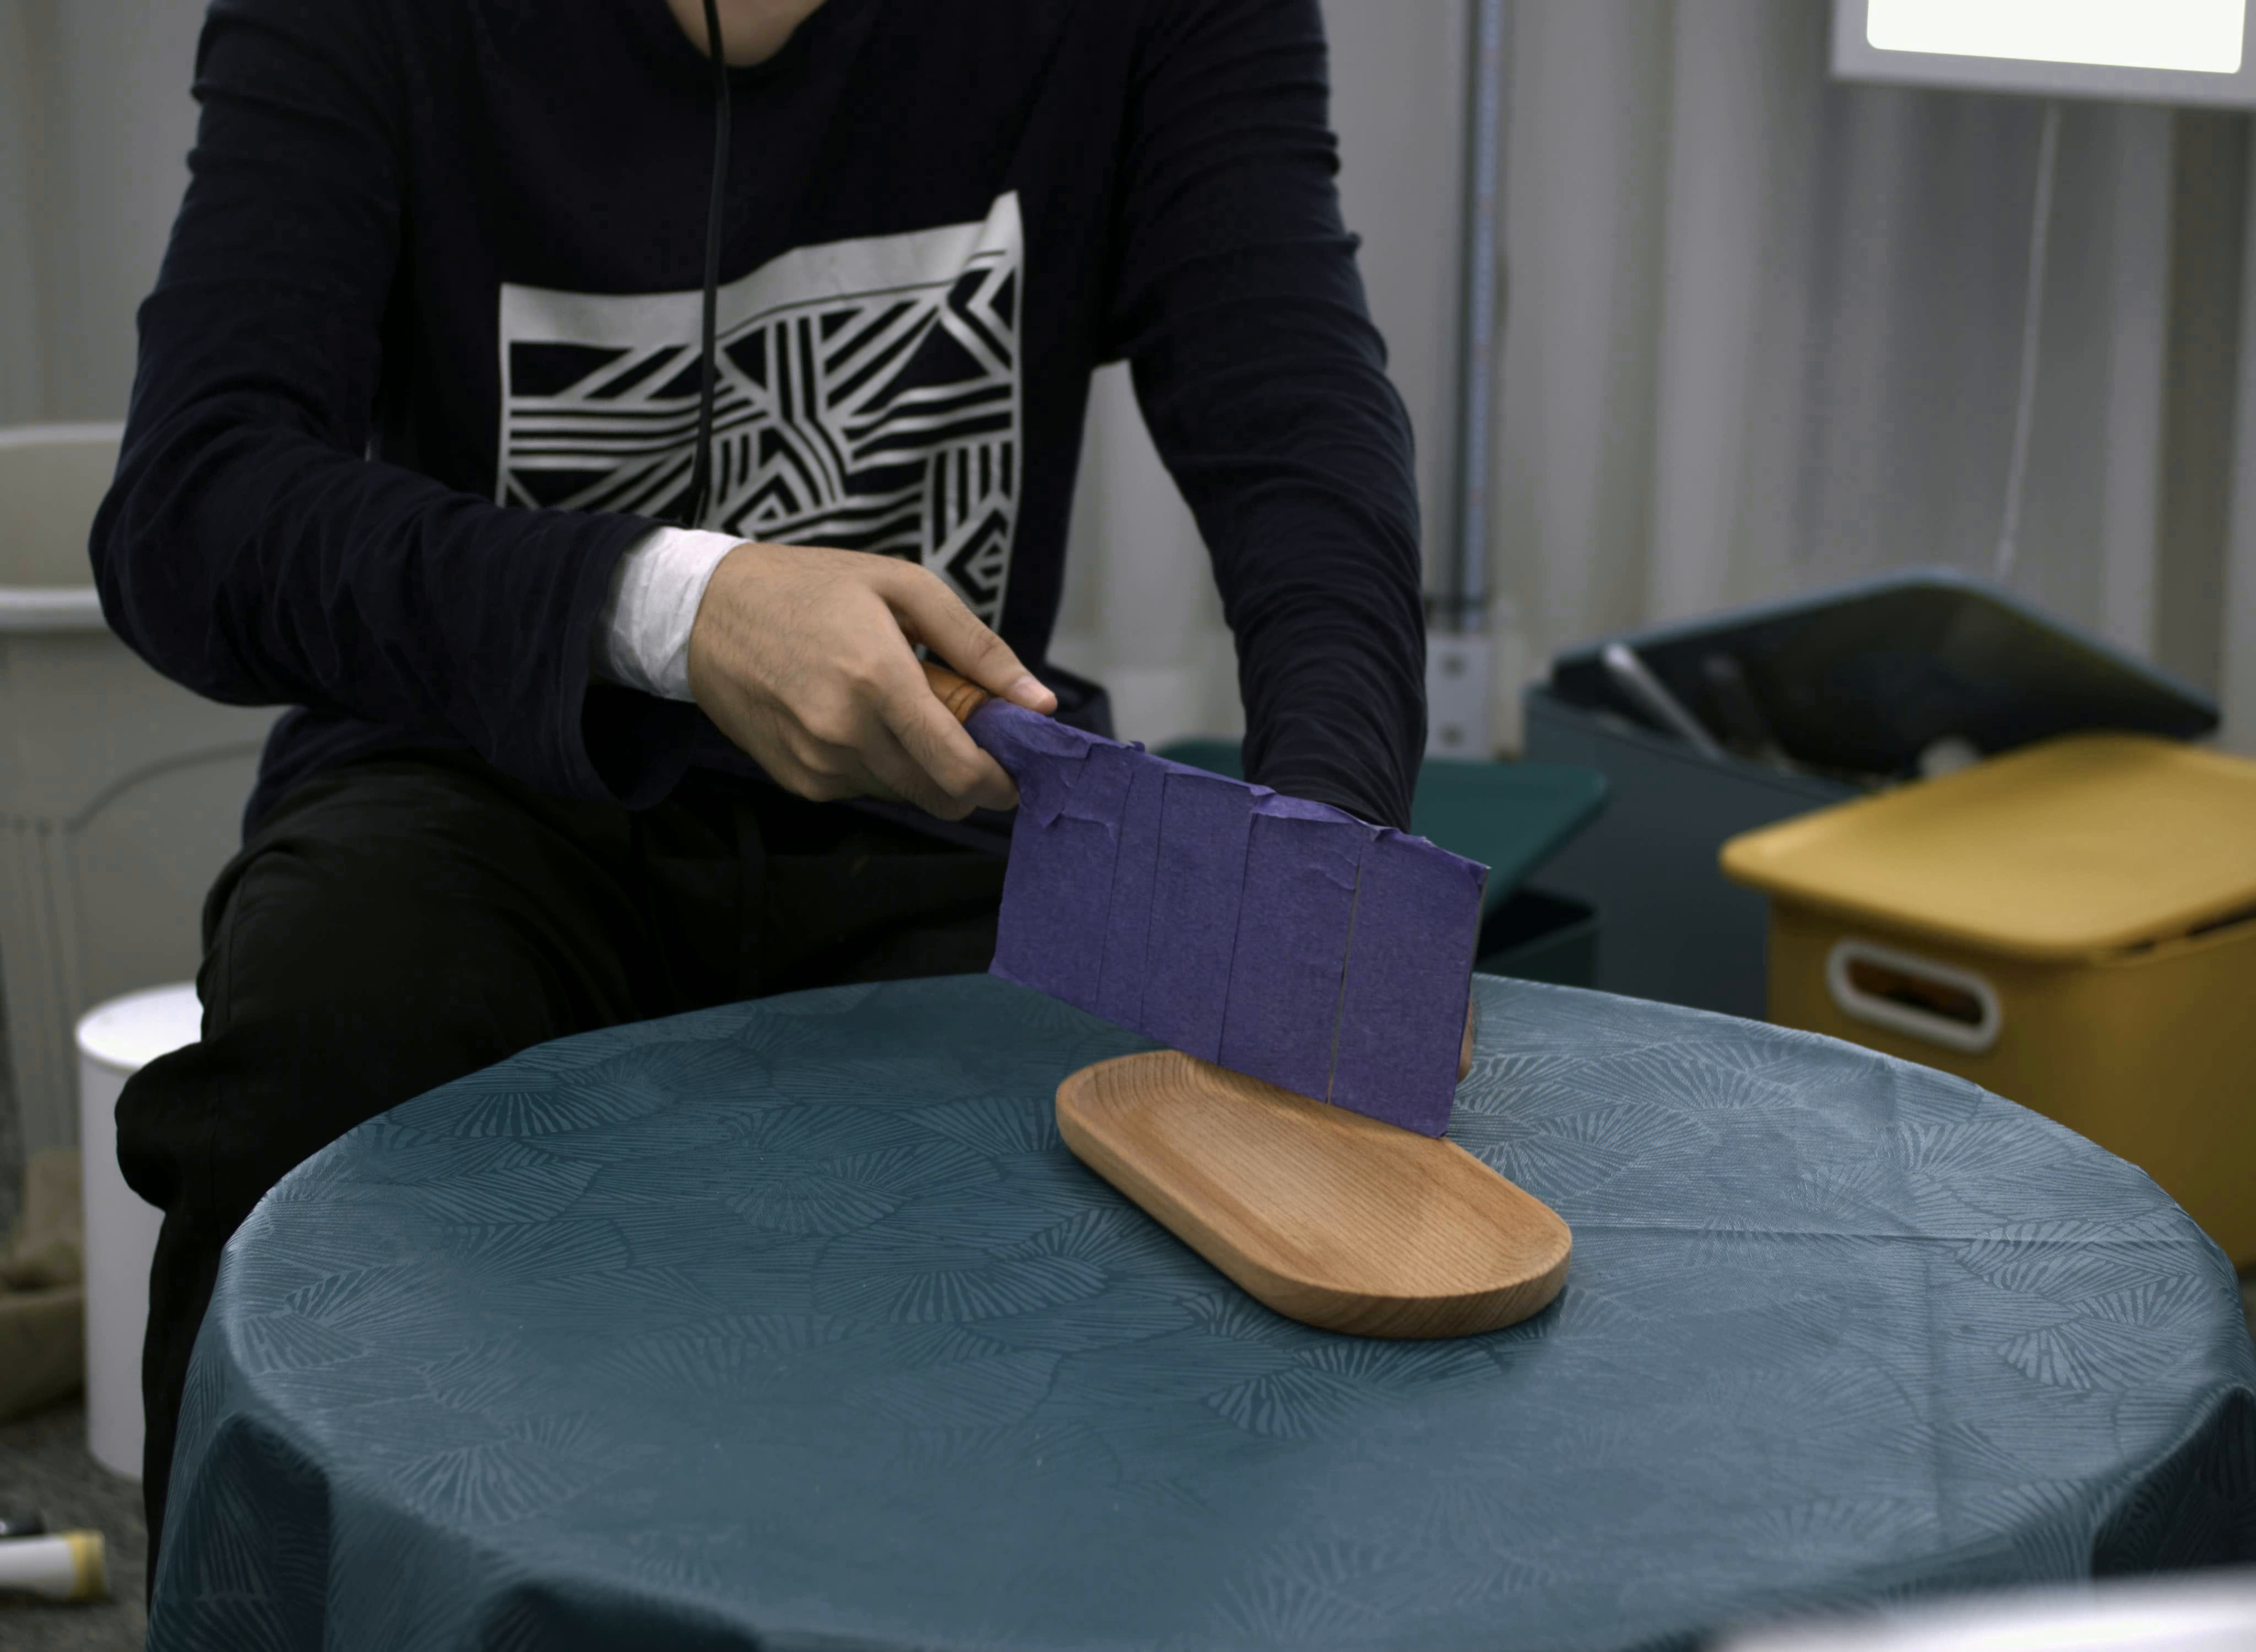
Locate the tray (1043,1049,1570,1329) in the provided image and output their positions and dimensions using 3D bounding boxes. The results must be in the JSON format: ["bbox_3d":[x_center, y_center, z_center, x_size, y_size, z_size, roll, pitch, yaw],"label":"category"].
[{"bbox_3d":[0.052,0.108,1.605,0.102,0.020,0.228,-7,16,-25],"label":"tray"}]

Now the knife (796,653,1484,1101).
[{"bbox_3d":[-0.005,0.016,1.710,0.032,0.104,0.311,0,13,-43],"label":"knife"}]
